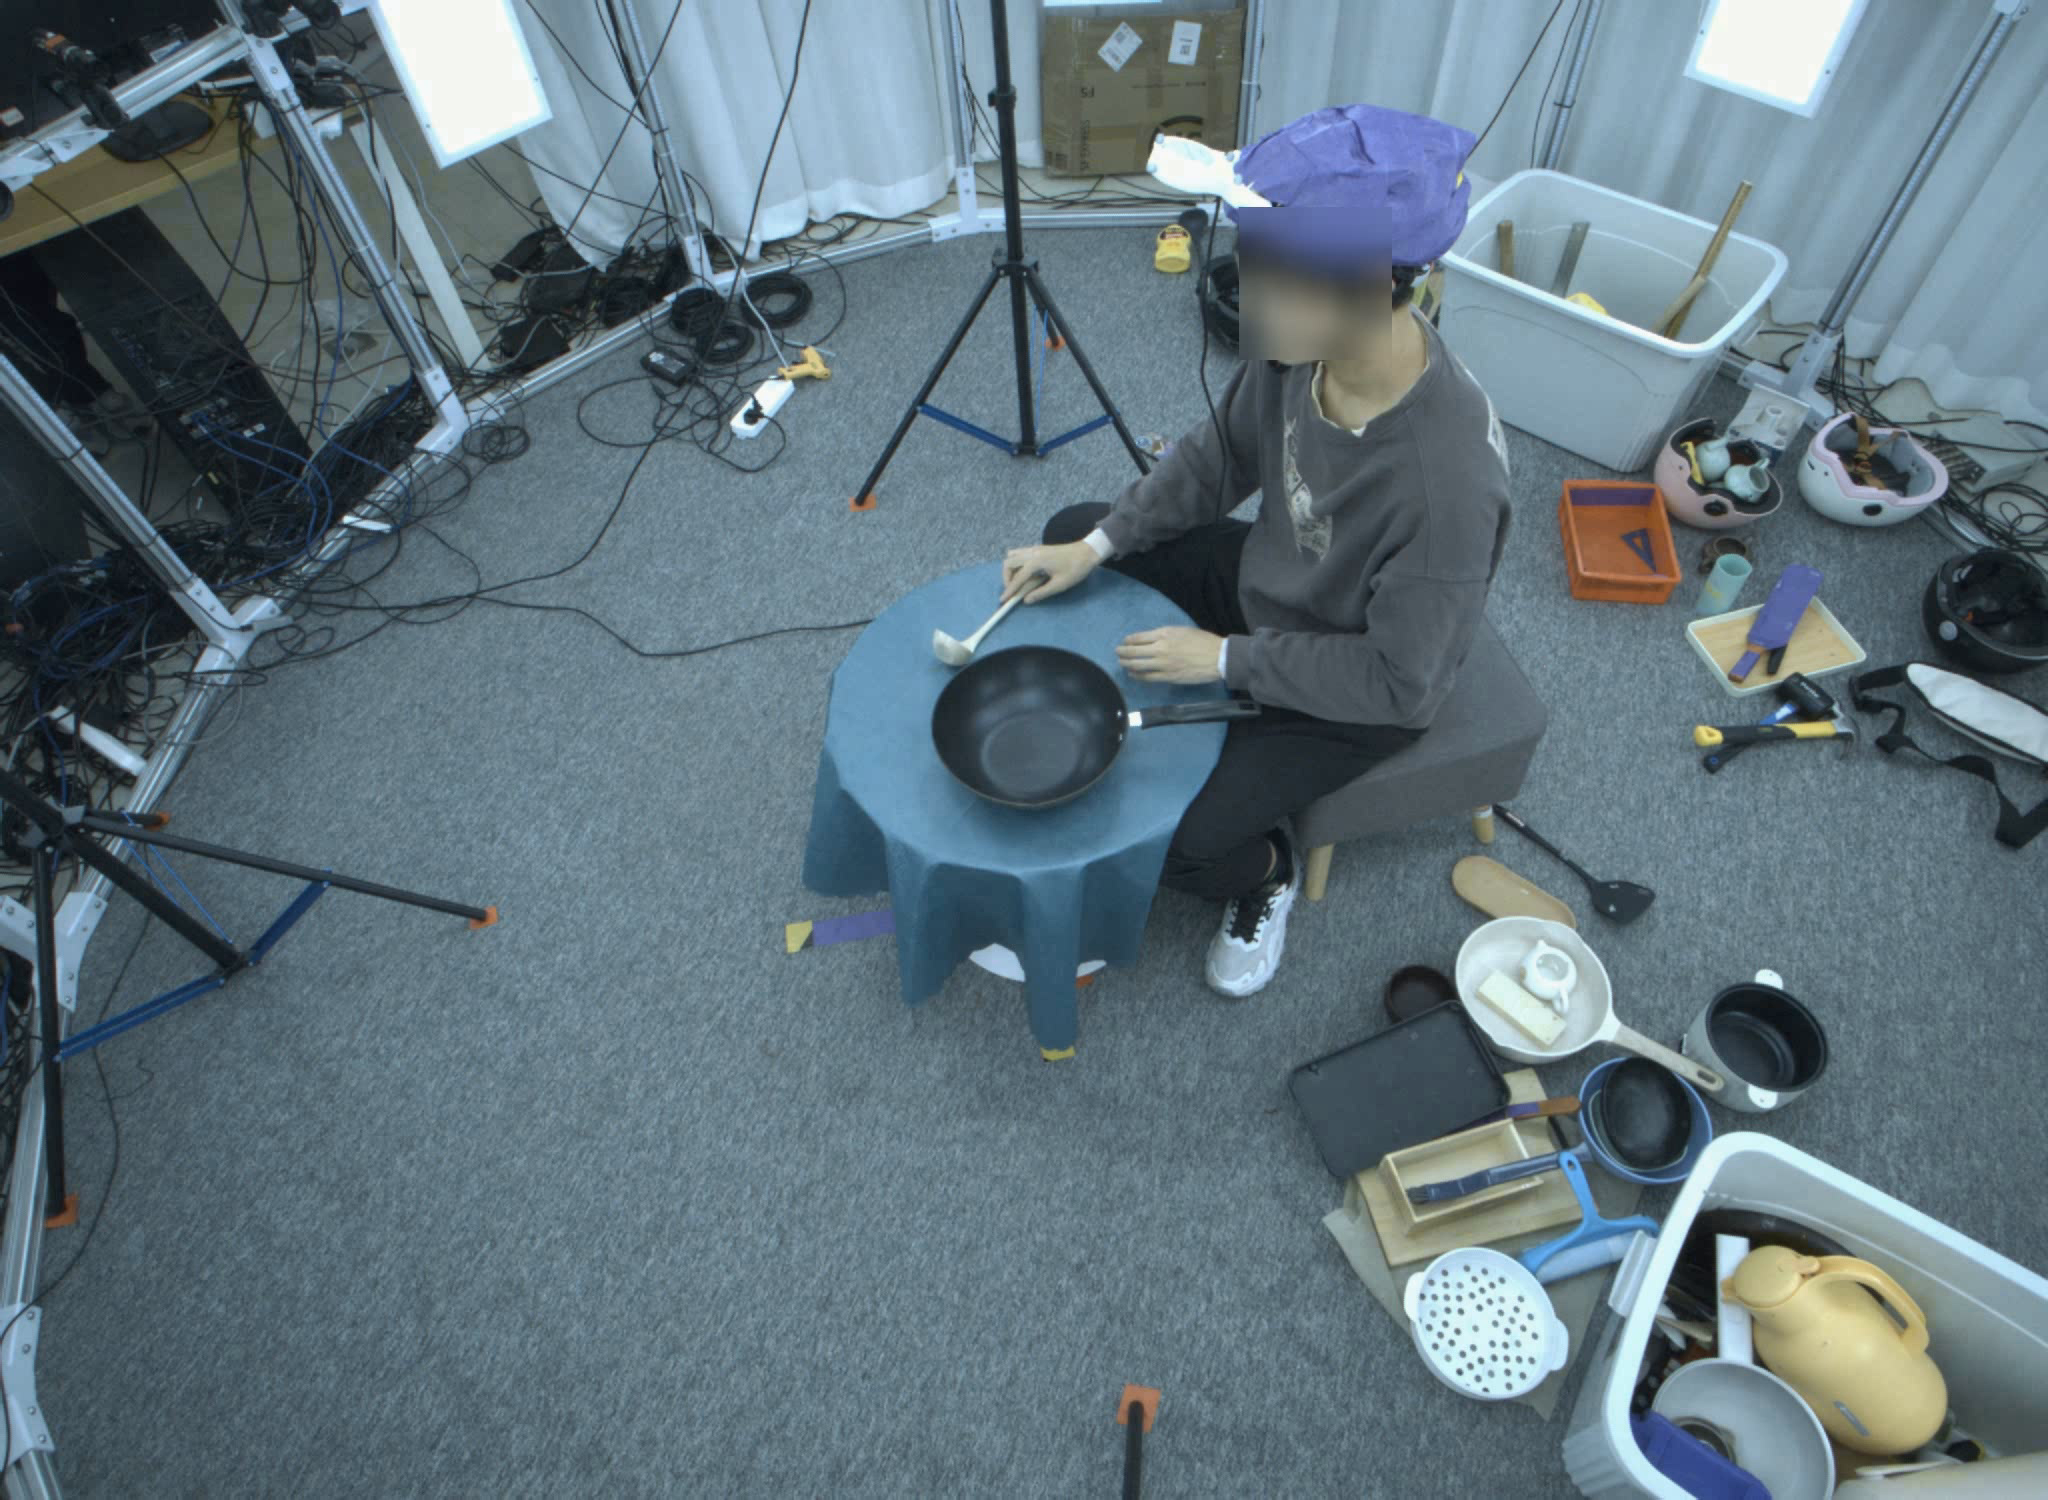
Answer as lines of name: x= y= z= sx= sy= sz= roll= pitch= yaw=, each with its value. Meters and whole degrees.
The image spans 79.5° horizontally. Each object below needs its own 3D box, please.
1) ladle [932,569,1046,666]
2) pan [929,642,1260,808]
ladle: x=-0.047 y=-0.228 z=1.905 sx=0.071 sy=0.073 sz=0.255 roll=29 pitch=61 yaw=23
pan: x=0.099 y=-0.026 z=1.749 sx=0.464 sy=0.088 sz=0.285 roll=-2 pitch=54 yaw=-1
